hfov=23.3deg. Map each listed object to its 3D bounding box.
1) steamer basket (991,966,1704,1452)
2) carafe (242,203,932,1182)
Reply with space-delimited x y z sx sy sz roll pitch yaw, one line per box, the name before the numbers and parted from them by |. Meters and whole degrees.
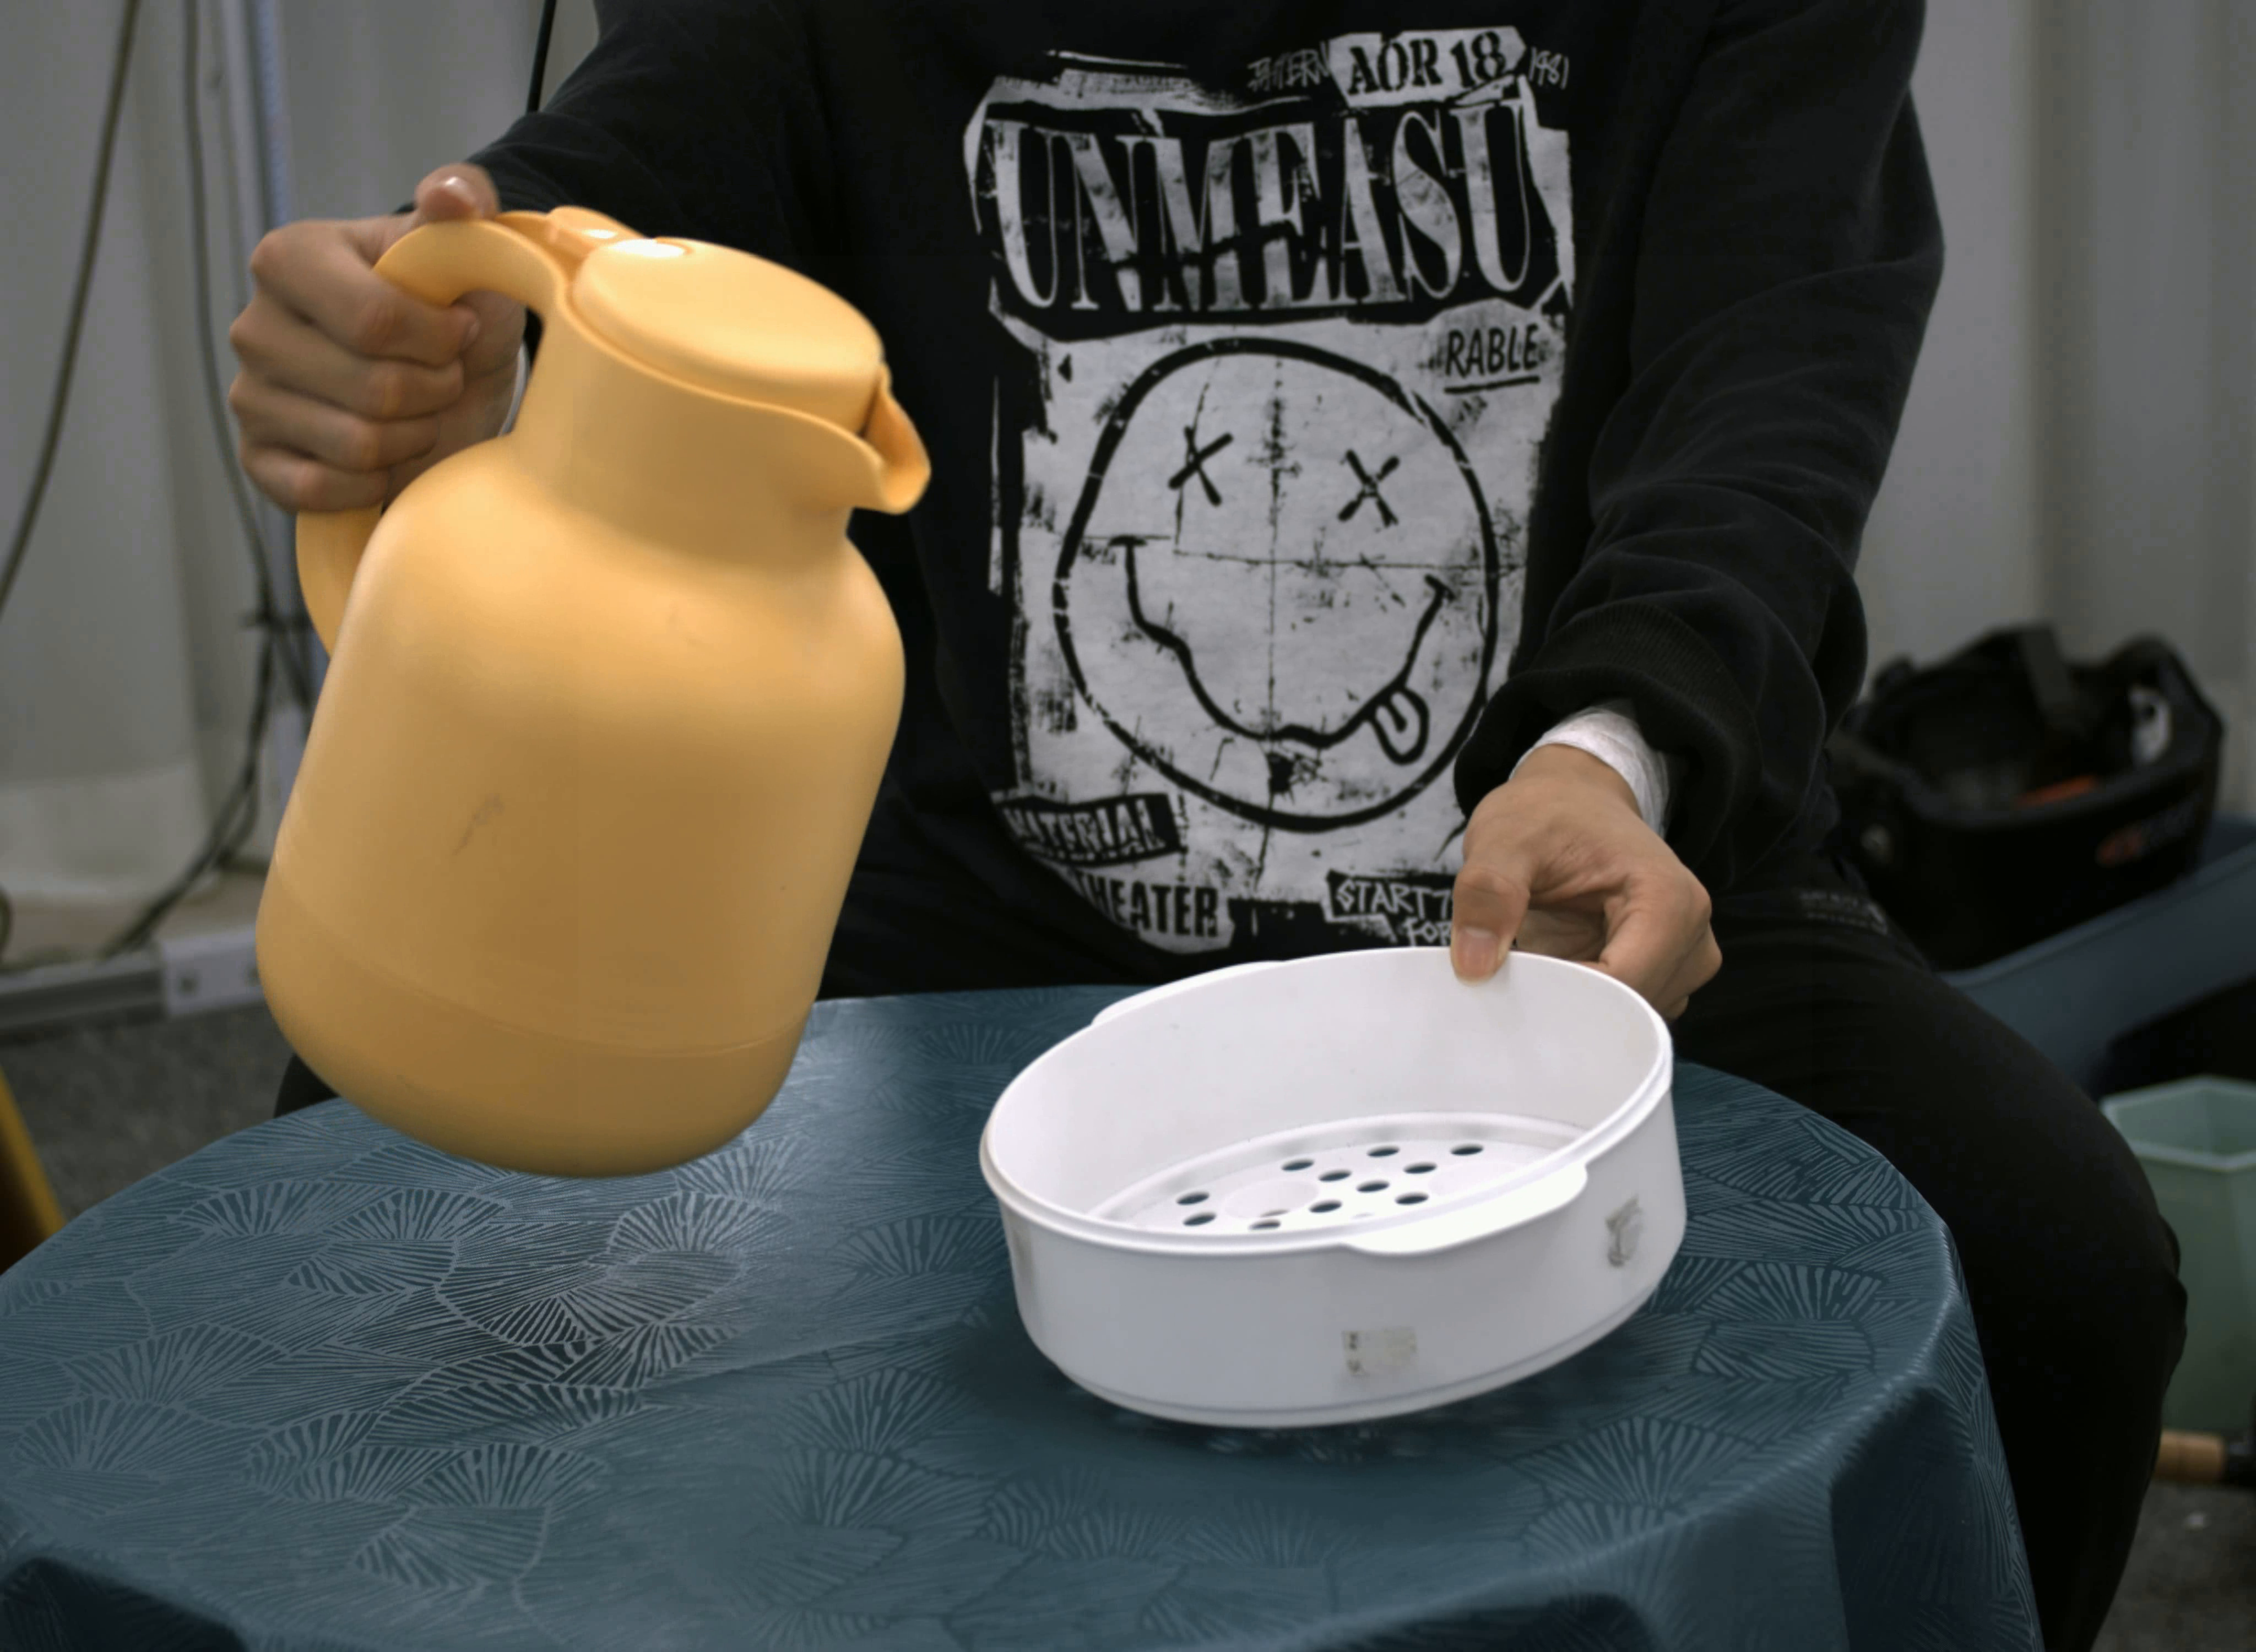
steamer basket | 0.065 0.109 1.556 0.201 0.069 0.232 -17 21 -17
carafe | -0.162 -0.048 1.576 0.204 0.259 0.163 33 24 29
